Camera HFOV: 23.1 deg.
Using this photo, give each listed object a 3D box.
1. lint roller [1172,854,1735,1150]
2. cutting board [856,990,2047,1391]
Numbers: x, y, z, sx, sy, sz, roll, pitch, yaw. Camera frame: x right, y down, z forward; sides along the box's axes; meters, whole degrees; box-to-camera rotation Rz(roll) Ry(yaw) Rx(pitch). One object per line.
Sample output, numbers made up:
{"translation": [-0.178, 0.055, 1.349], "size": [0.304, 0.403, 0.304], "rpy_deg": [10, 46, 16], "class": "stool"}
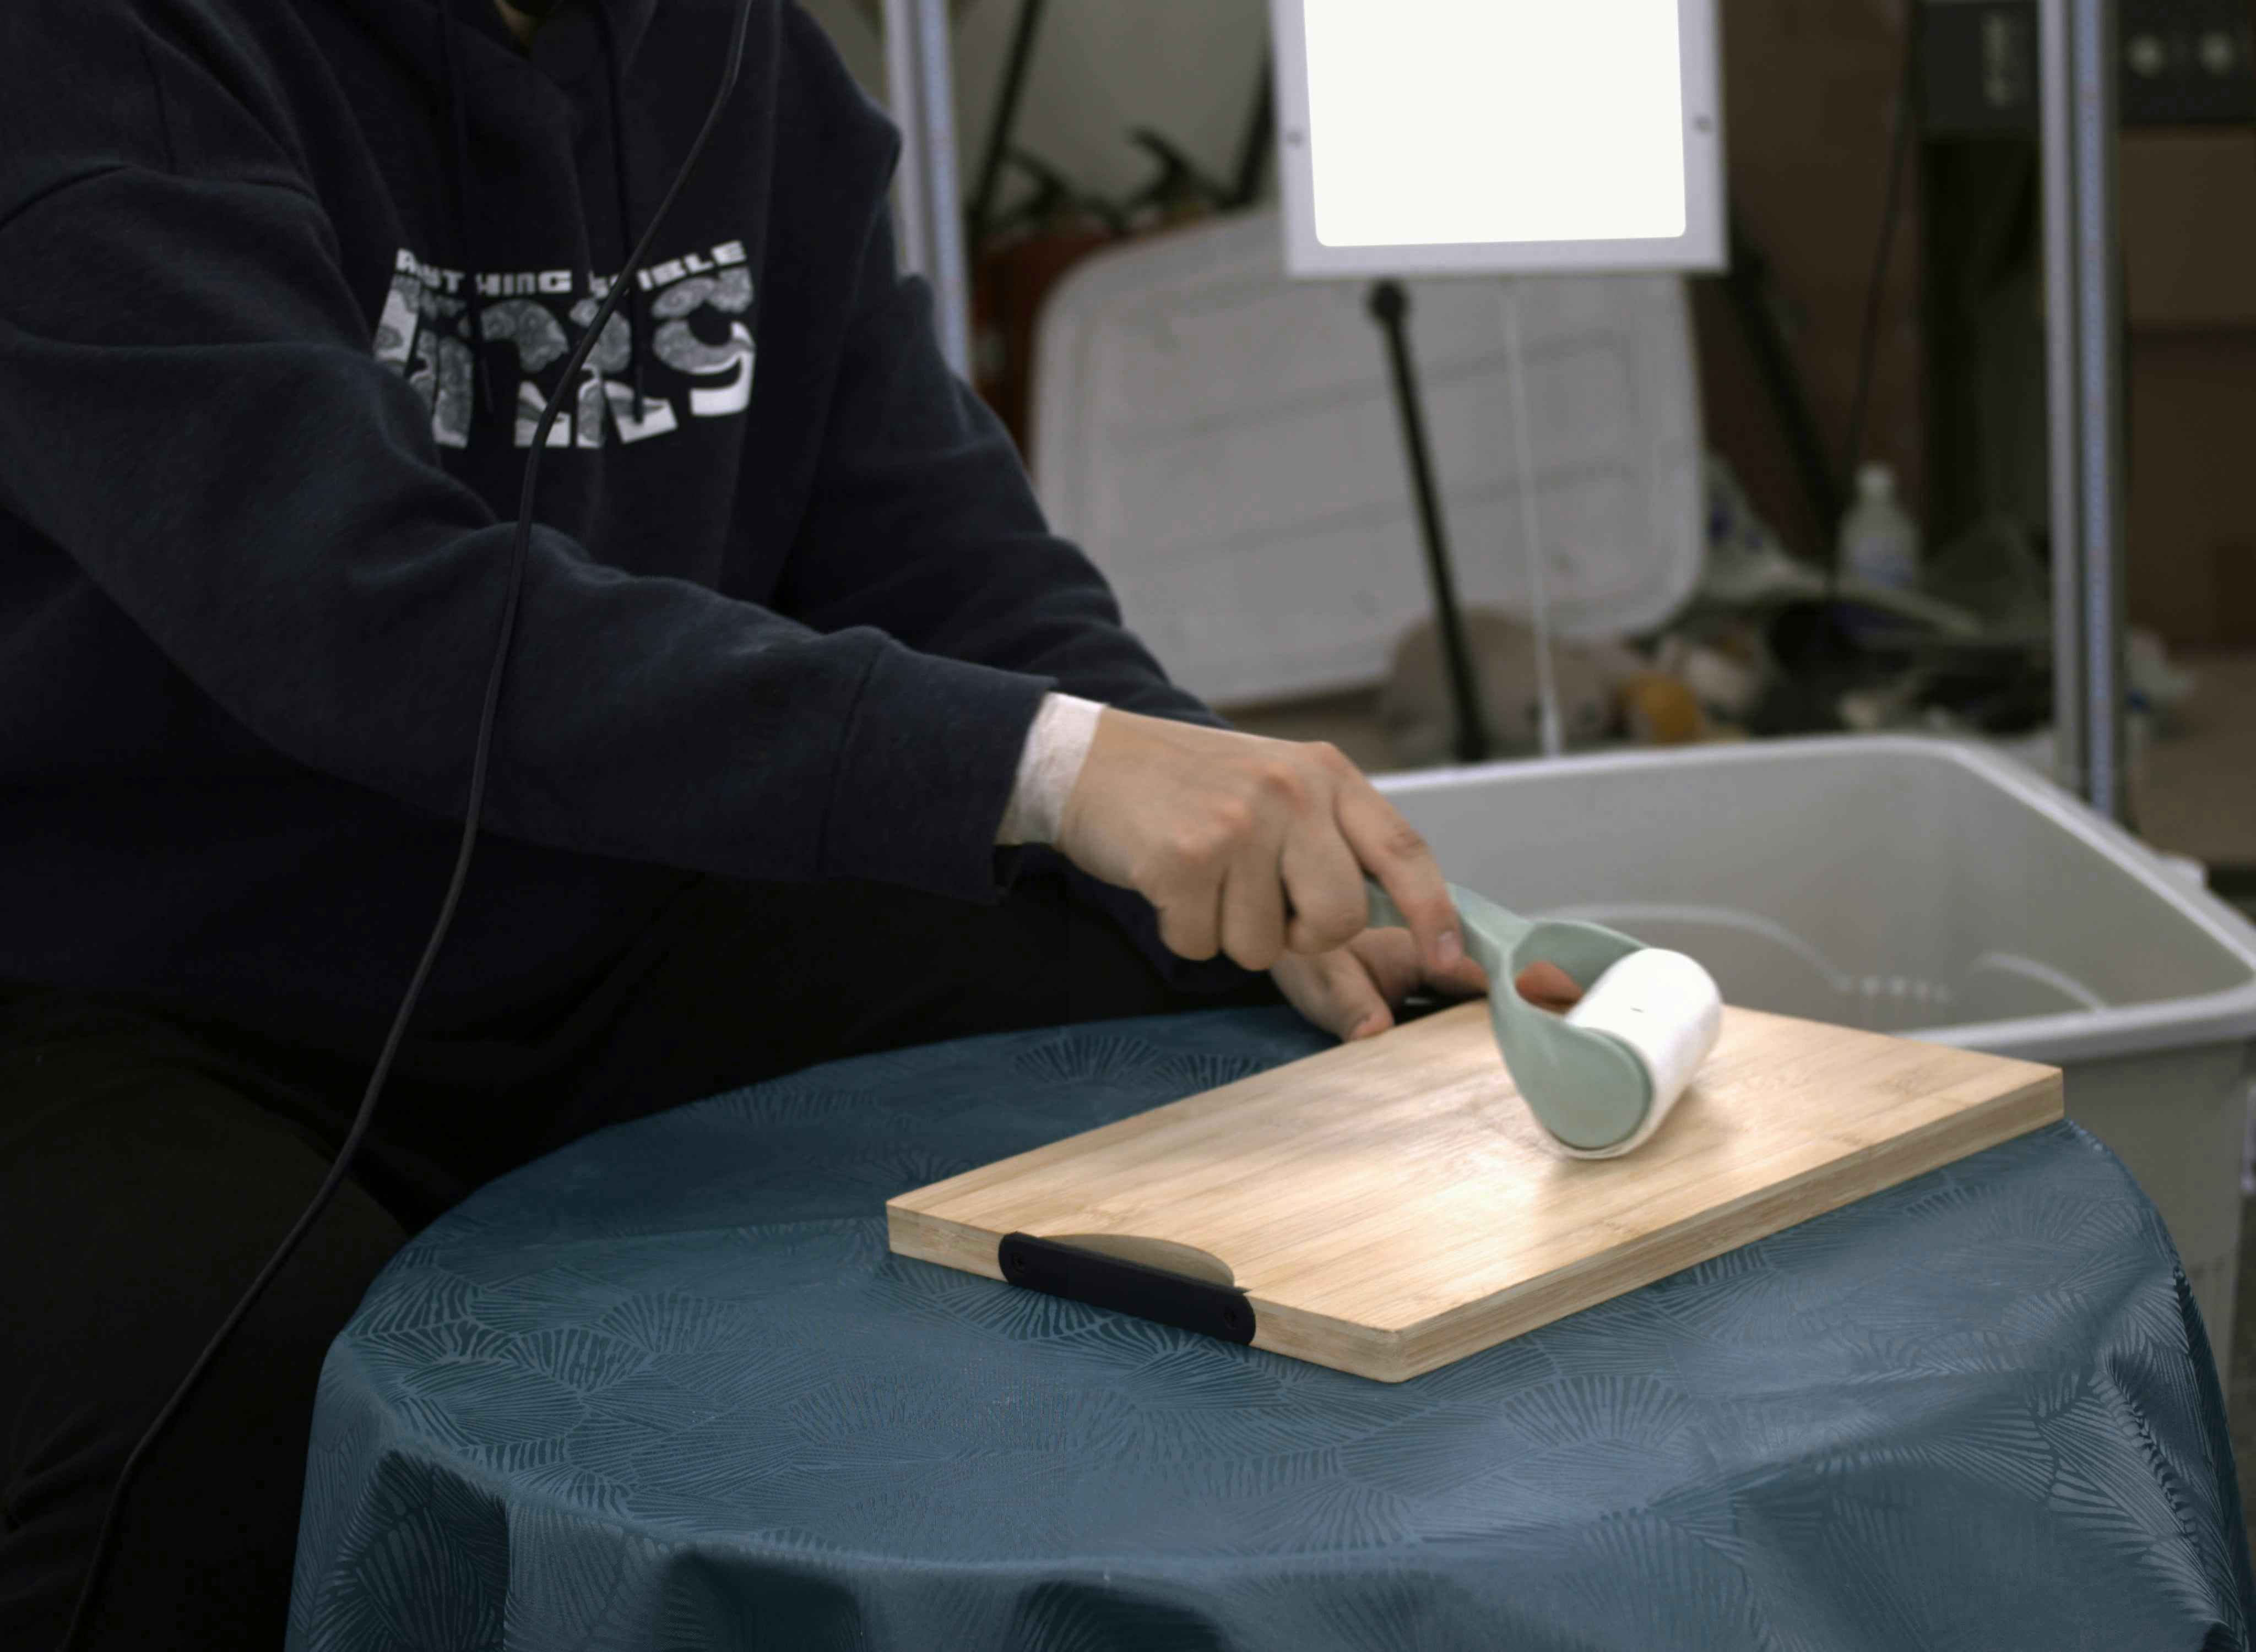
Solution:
{"translation": [0.111, 0.043, 1.892], "size": [0.199, 0.049, 0.114], "rpy_deg": [25, 23, 12], "class": "lint roller"}
{"translation": [0.117, 0.115, 1.871], "size": [0.340, 0.023, 0.256], "rpy_deg": [-17, 17, -40], "class": "cutting board"}
